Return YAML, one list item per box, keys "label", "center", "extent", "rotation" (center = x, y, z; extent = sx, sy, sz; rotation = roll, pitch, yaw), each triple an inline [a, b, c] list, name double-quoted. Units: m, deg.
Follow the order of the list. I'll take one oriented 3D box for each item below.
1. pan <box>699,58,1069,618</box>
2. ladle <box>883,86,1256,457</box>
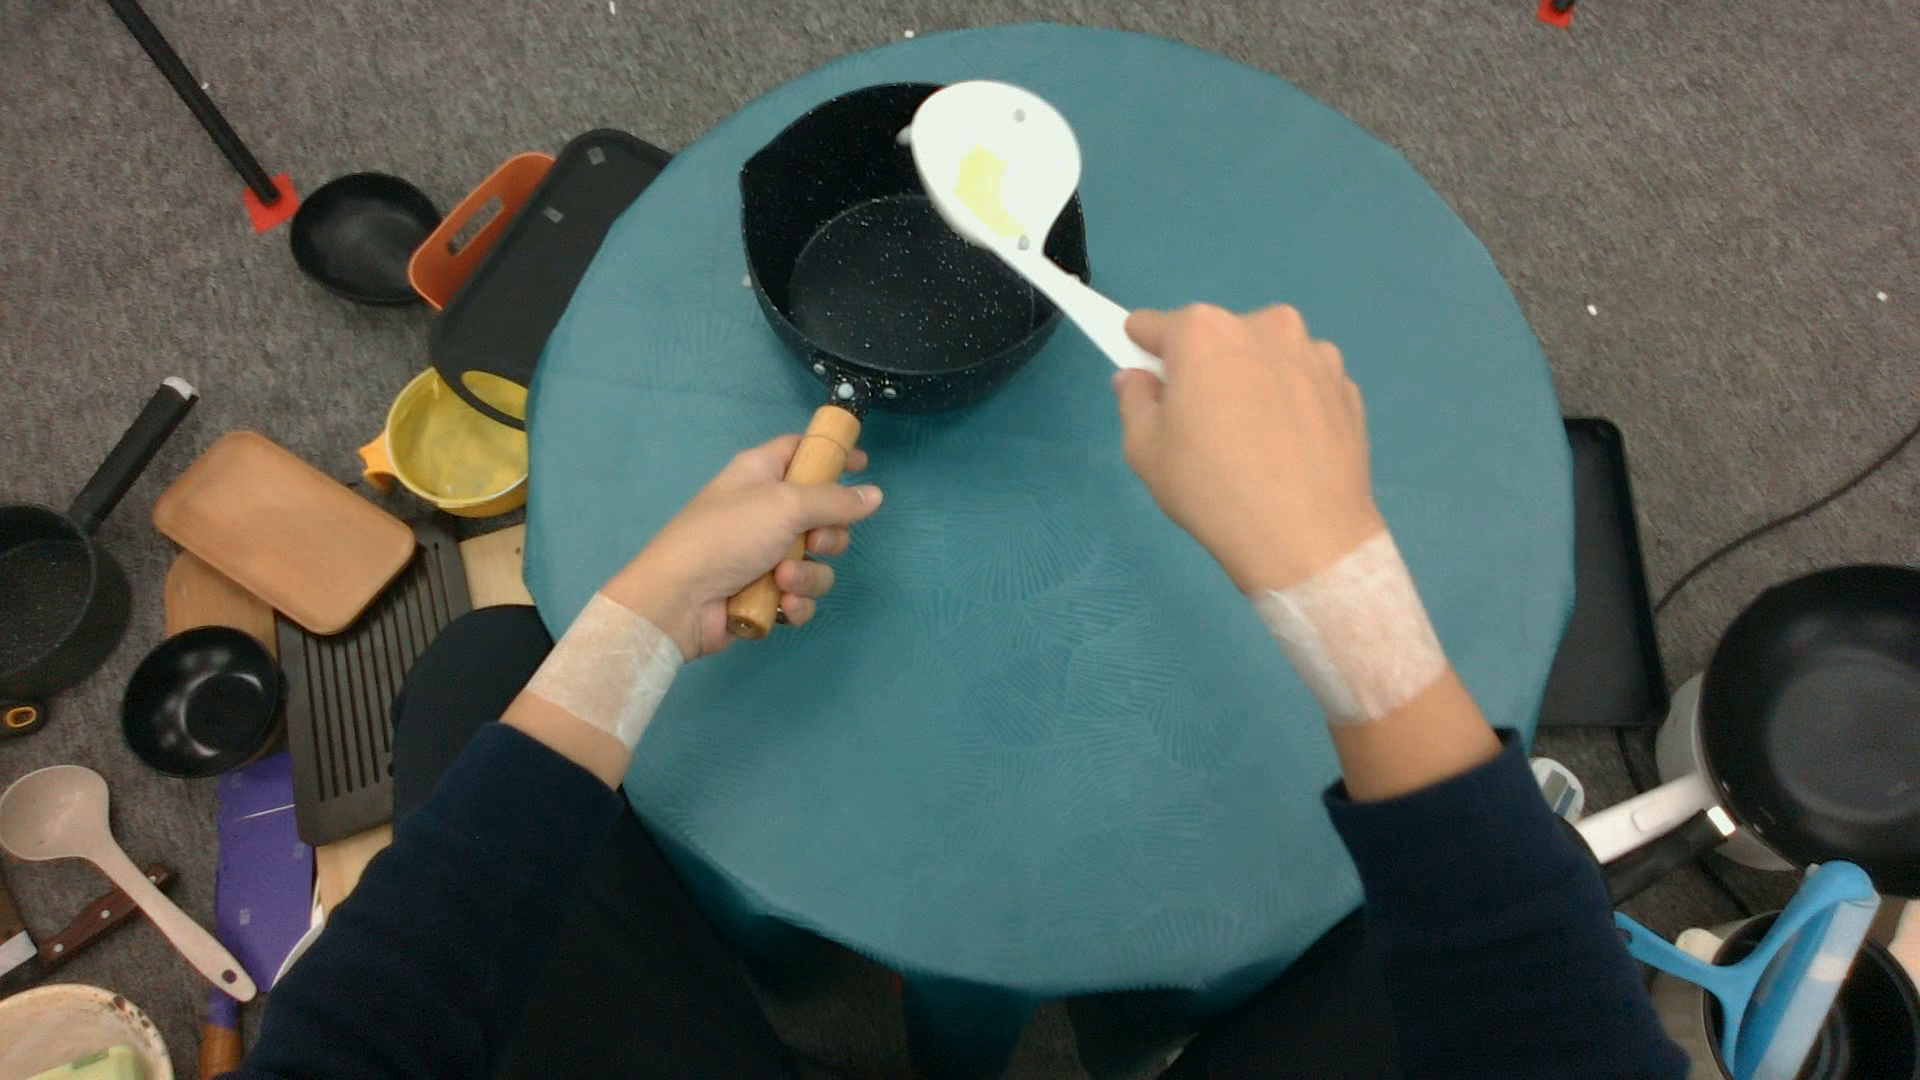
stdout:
- label: "pan"
  center: [-0.061, -0.101, 0.737]
  extent: [0.207, 0.108, 0.344]
  rotation: [16, 68, 1]
- label: "ladle"
  center: [0.045, -0.133, 0.622]
  extent: [0.090, 0.069, 0.293]
  rotation: [1, 29, -27]
